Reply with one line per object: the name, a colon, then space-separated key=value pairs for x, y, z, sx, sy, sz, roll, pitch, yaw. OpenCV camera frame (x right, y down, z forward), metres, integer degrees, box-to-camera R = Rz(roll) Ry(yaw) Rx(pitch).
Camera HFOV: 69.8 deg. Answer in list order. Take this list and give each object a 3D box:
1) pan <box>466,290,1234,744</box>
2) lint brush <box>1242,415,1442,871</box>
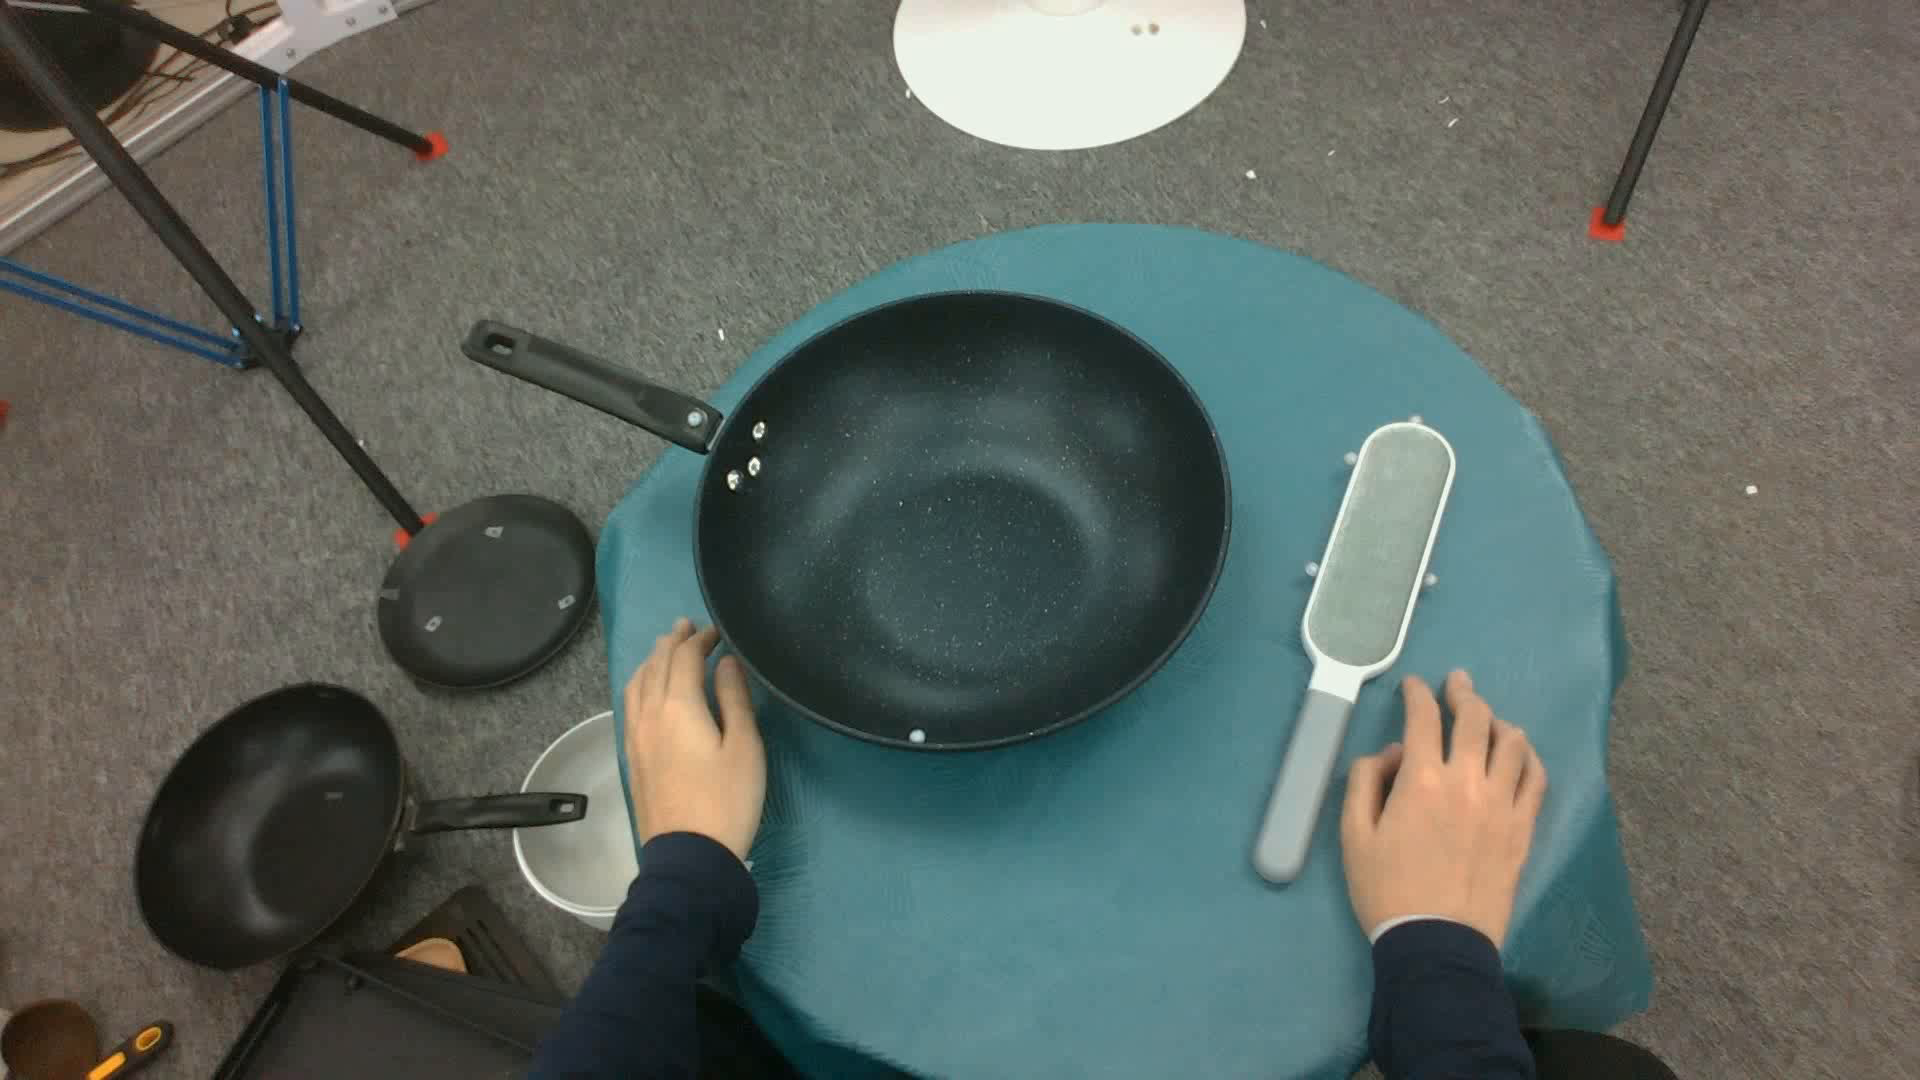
pan: x=-0.076 y=-0.035 z=0.829 sx=0.476 sy=0.111 sz=0.311 roll=16 pitch=60 yaw=15
lint brush: x=0.218 y=0.049 z=0.797 sx=0.060 sy=0.021 sz=0.310 roll=21 pitch=62 yaw=10
